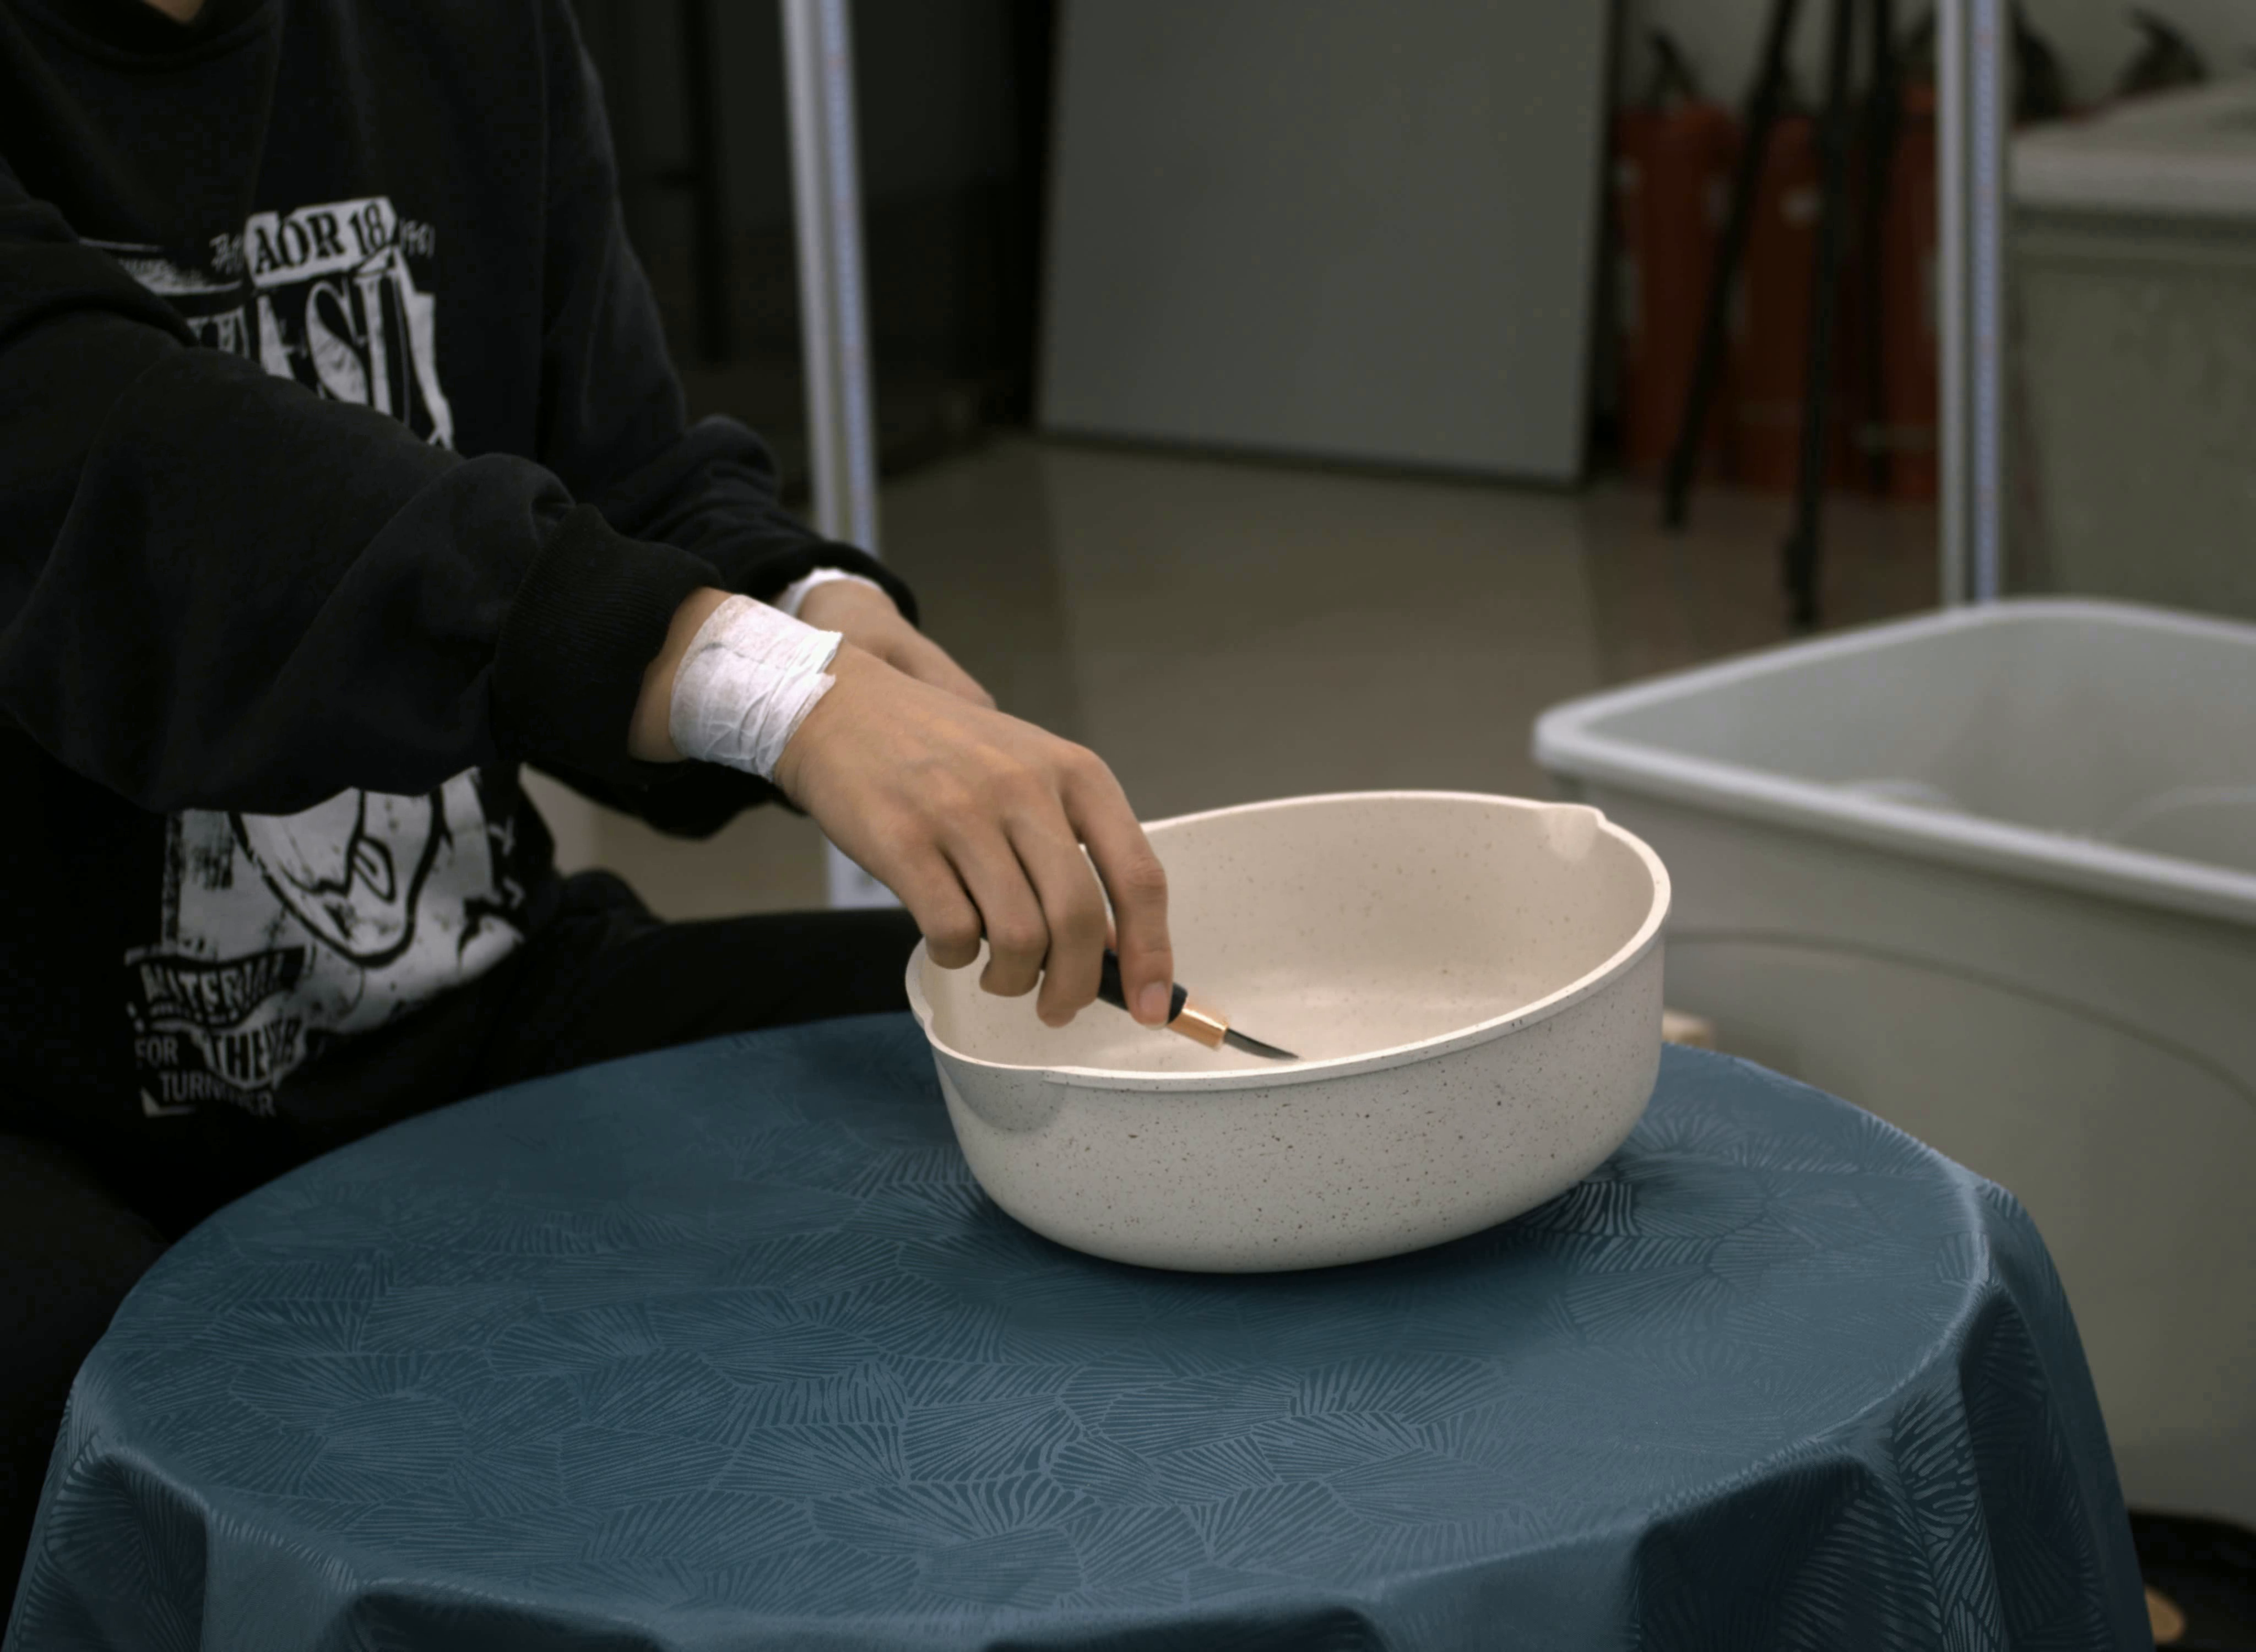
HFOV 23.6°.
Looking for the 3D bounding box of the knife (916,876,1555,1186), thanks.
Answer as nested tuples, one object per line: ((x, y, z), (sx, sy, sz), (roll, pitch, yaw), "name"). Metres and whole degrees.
((0.035, 0.067, 1.718), (0.224, 0.017, 0.026), (24, -7, 6), "knife")

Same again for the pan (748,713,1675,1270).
((0.005, 0.044, 1.828), (0.258, 0.103, 0.439), (-23, 22, -30), "pan")
